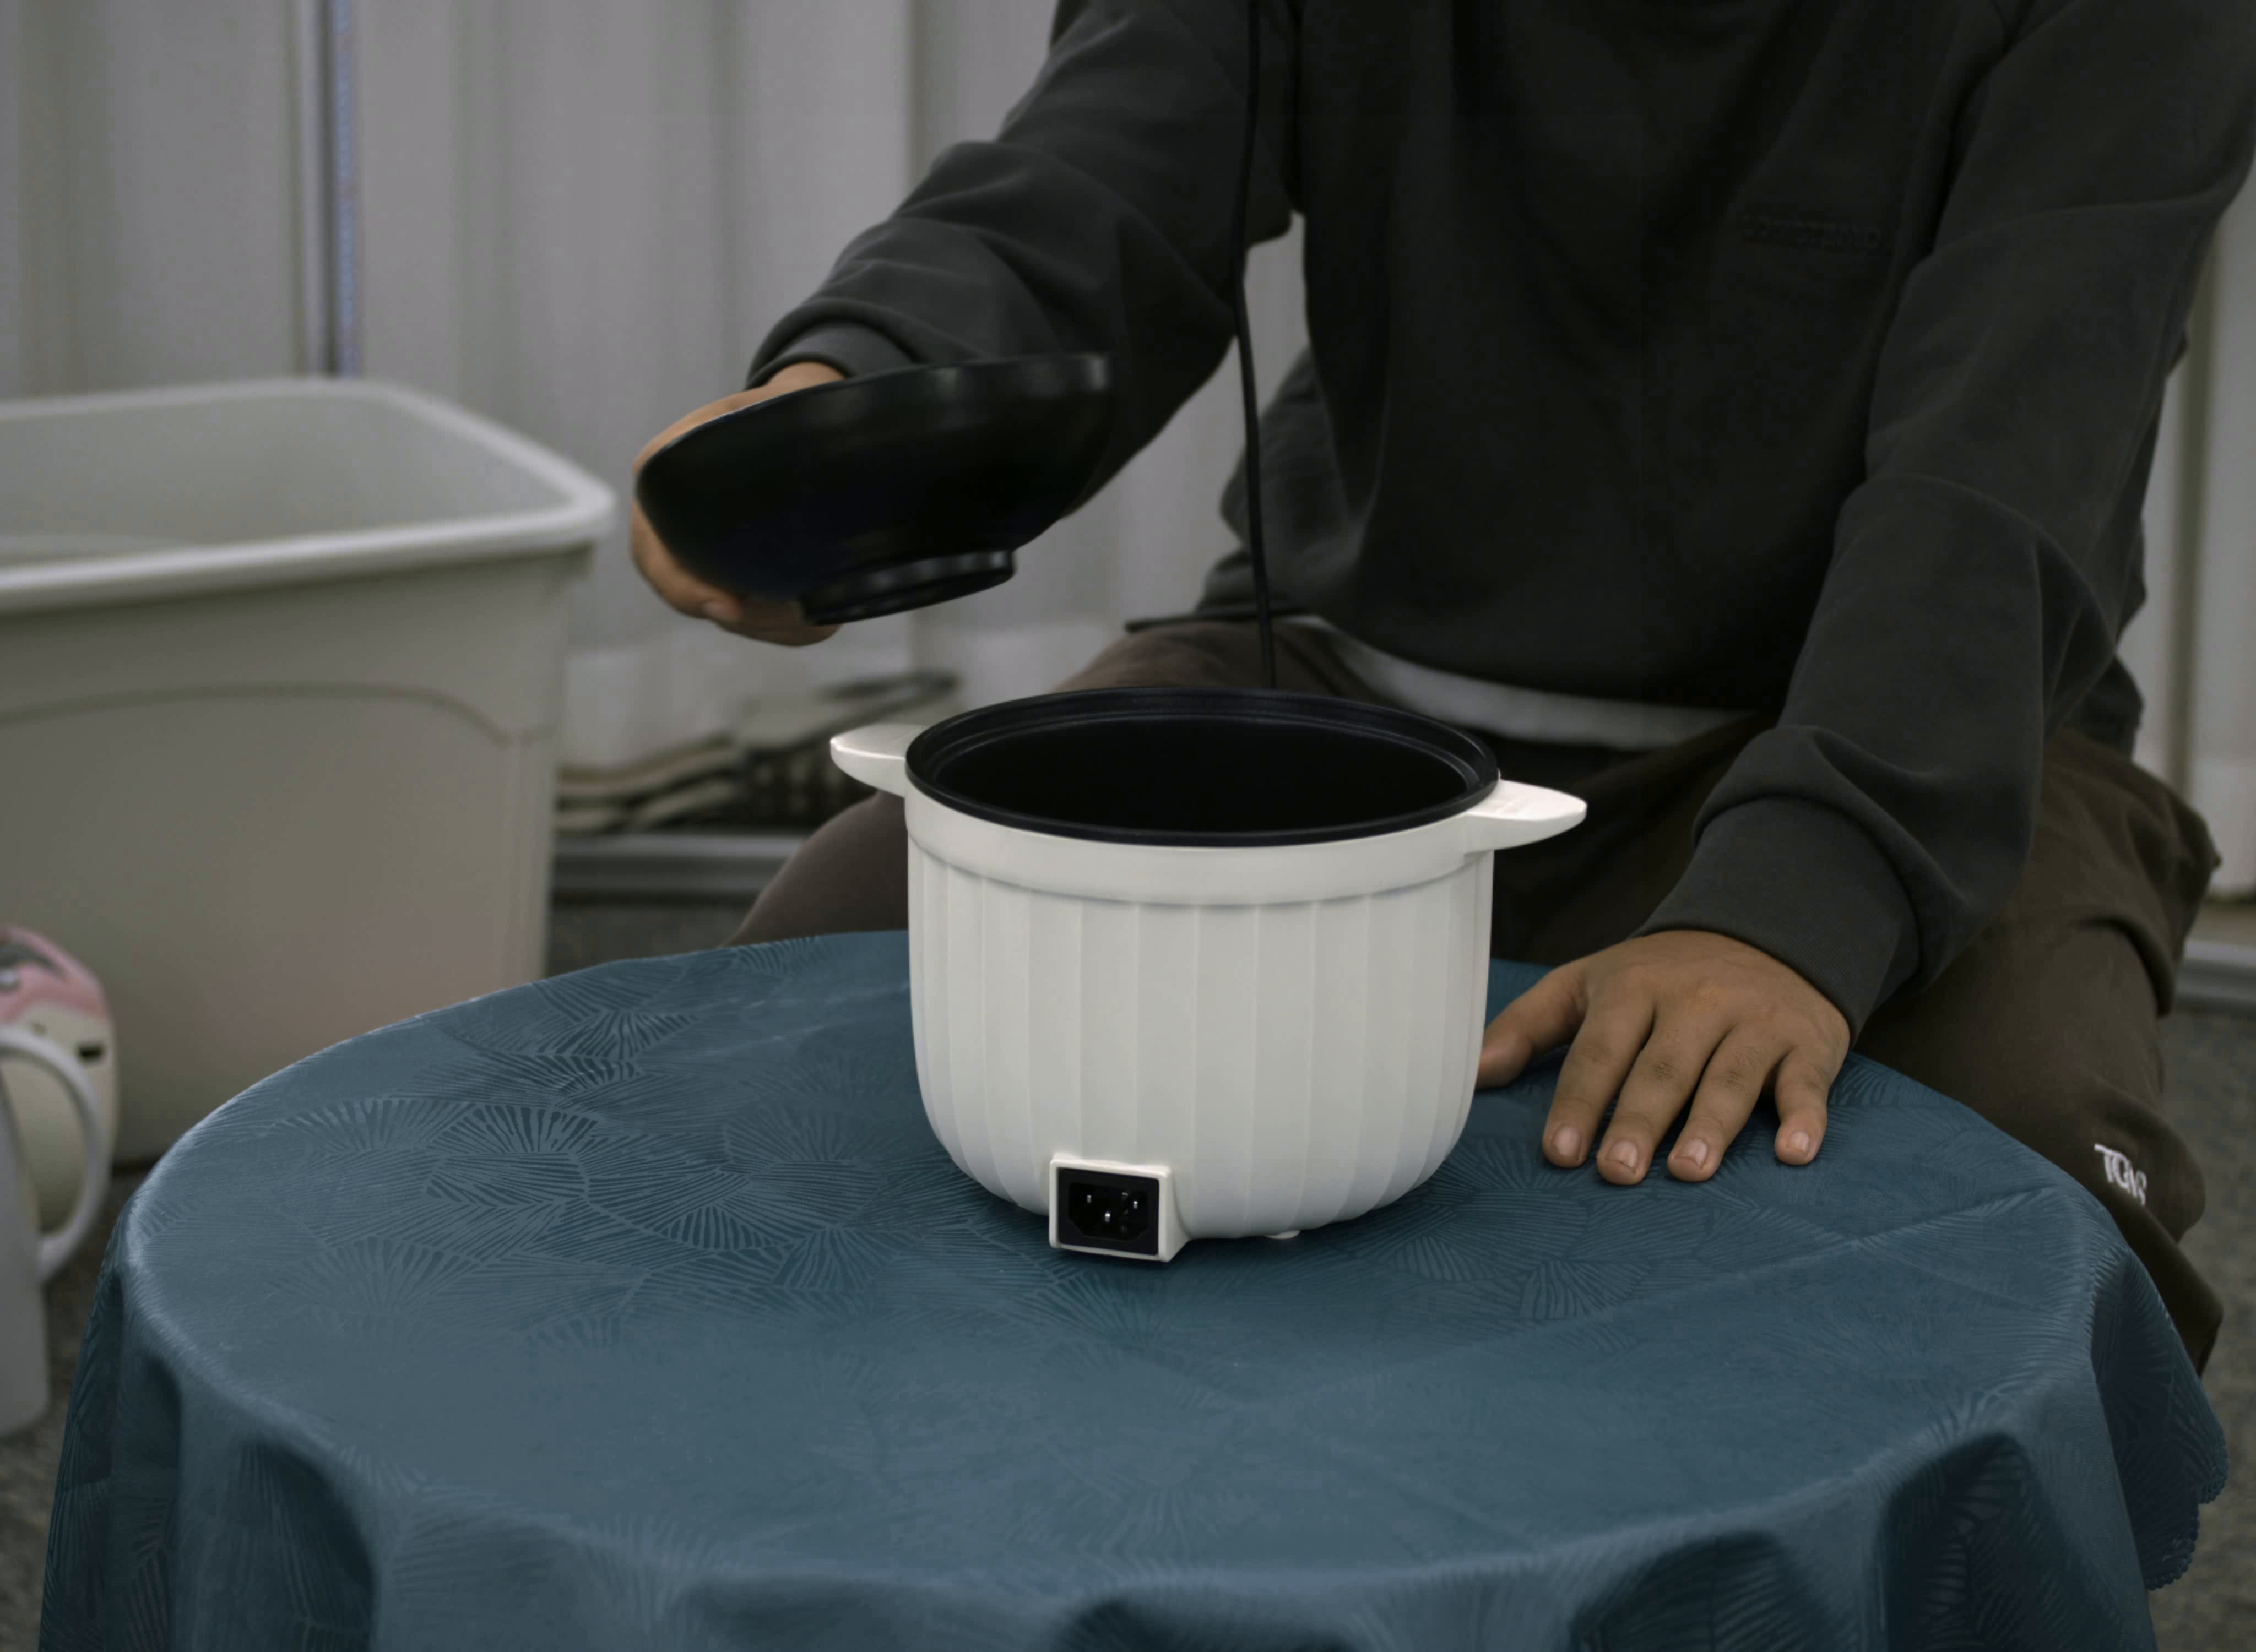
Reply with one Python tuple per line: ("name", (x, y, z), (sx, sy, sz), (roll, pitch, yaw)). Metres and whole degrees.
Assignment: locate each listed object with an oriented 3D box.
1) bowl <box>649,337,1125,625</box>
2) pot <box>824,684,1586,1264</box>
("bowl", (-0.072, -0.103, 1.643), (0.169, 0.067, 0.138), (-17, -4, 34))
("pot", (0.022, 0.042, 1.624), (0.238, 0.144, 0.190), (6, 20, 16))
